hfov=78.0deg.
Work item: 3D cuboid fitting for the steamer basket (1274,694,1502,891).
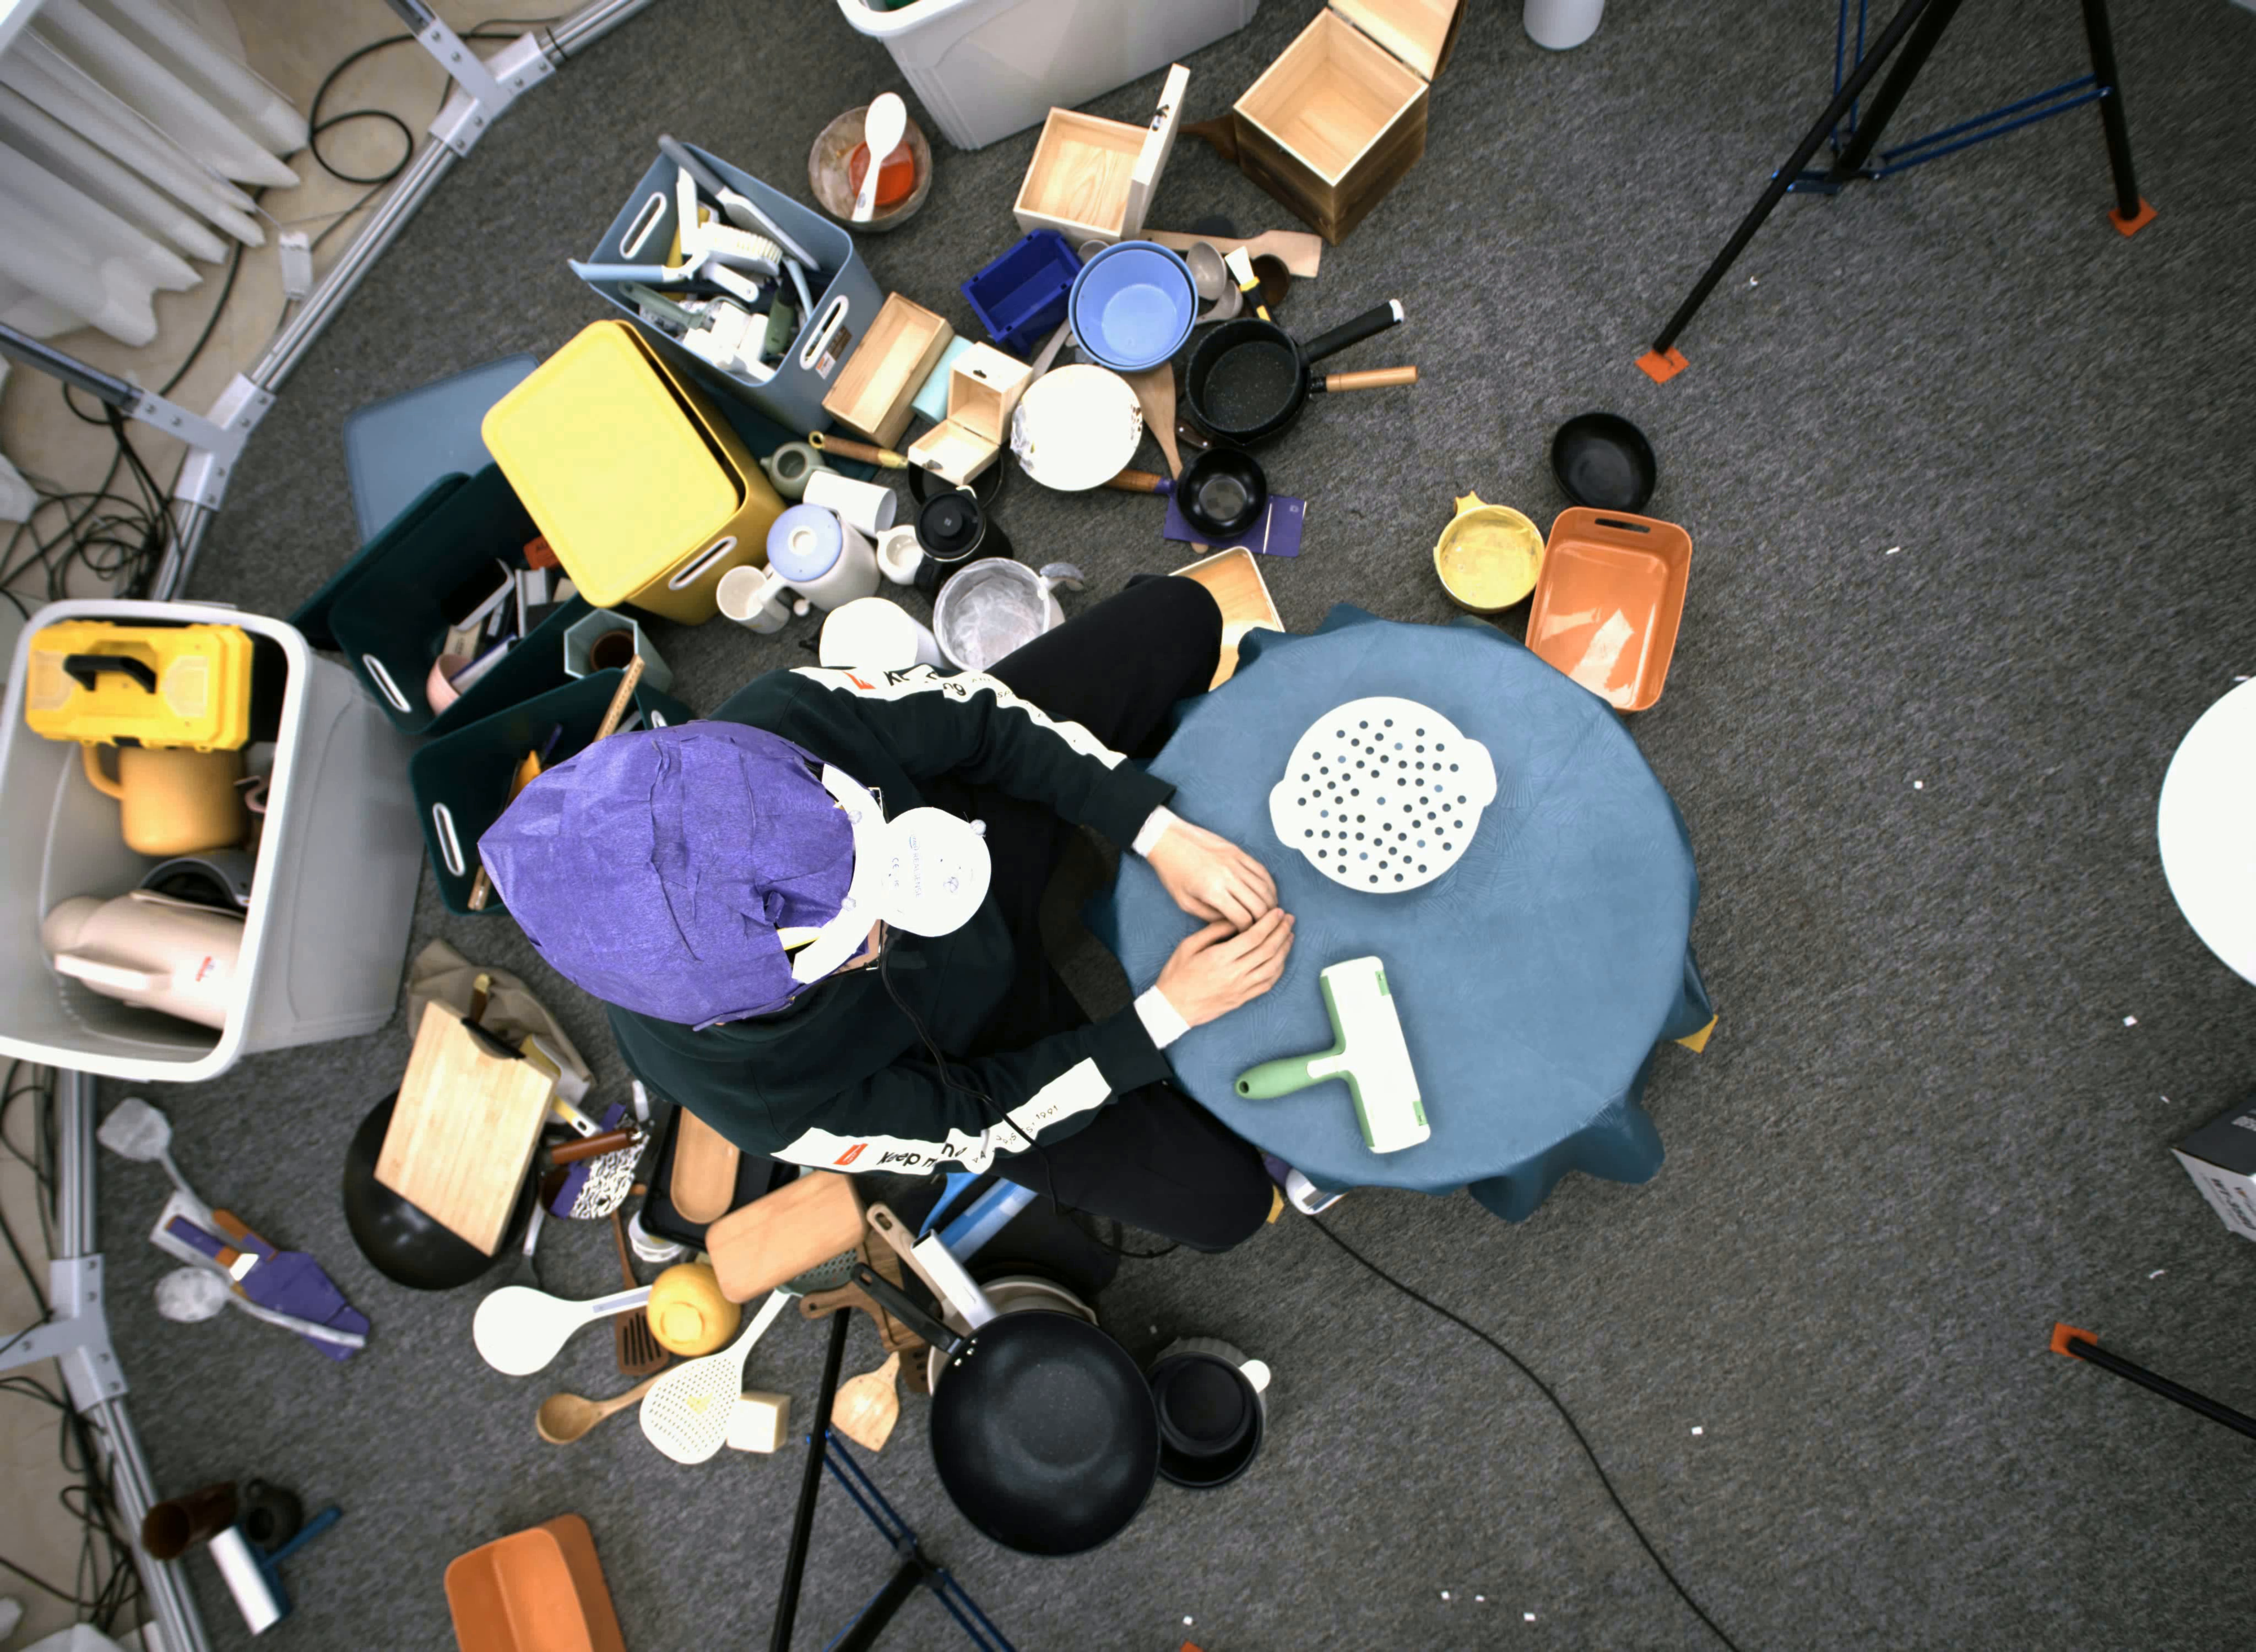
[{"bbox_3d":[0.268,-0.034,1.426,0.231,0.069,0.201,-13,85,8],"label":"steamer basket"}]

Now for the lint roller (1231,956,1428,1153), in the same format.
[{"bbox_3d":[0.195,0.247,1.421,0.184,0.082,0.197,-15,84,5],"label":"lint roller"}]
